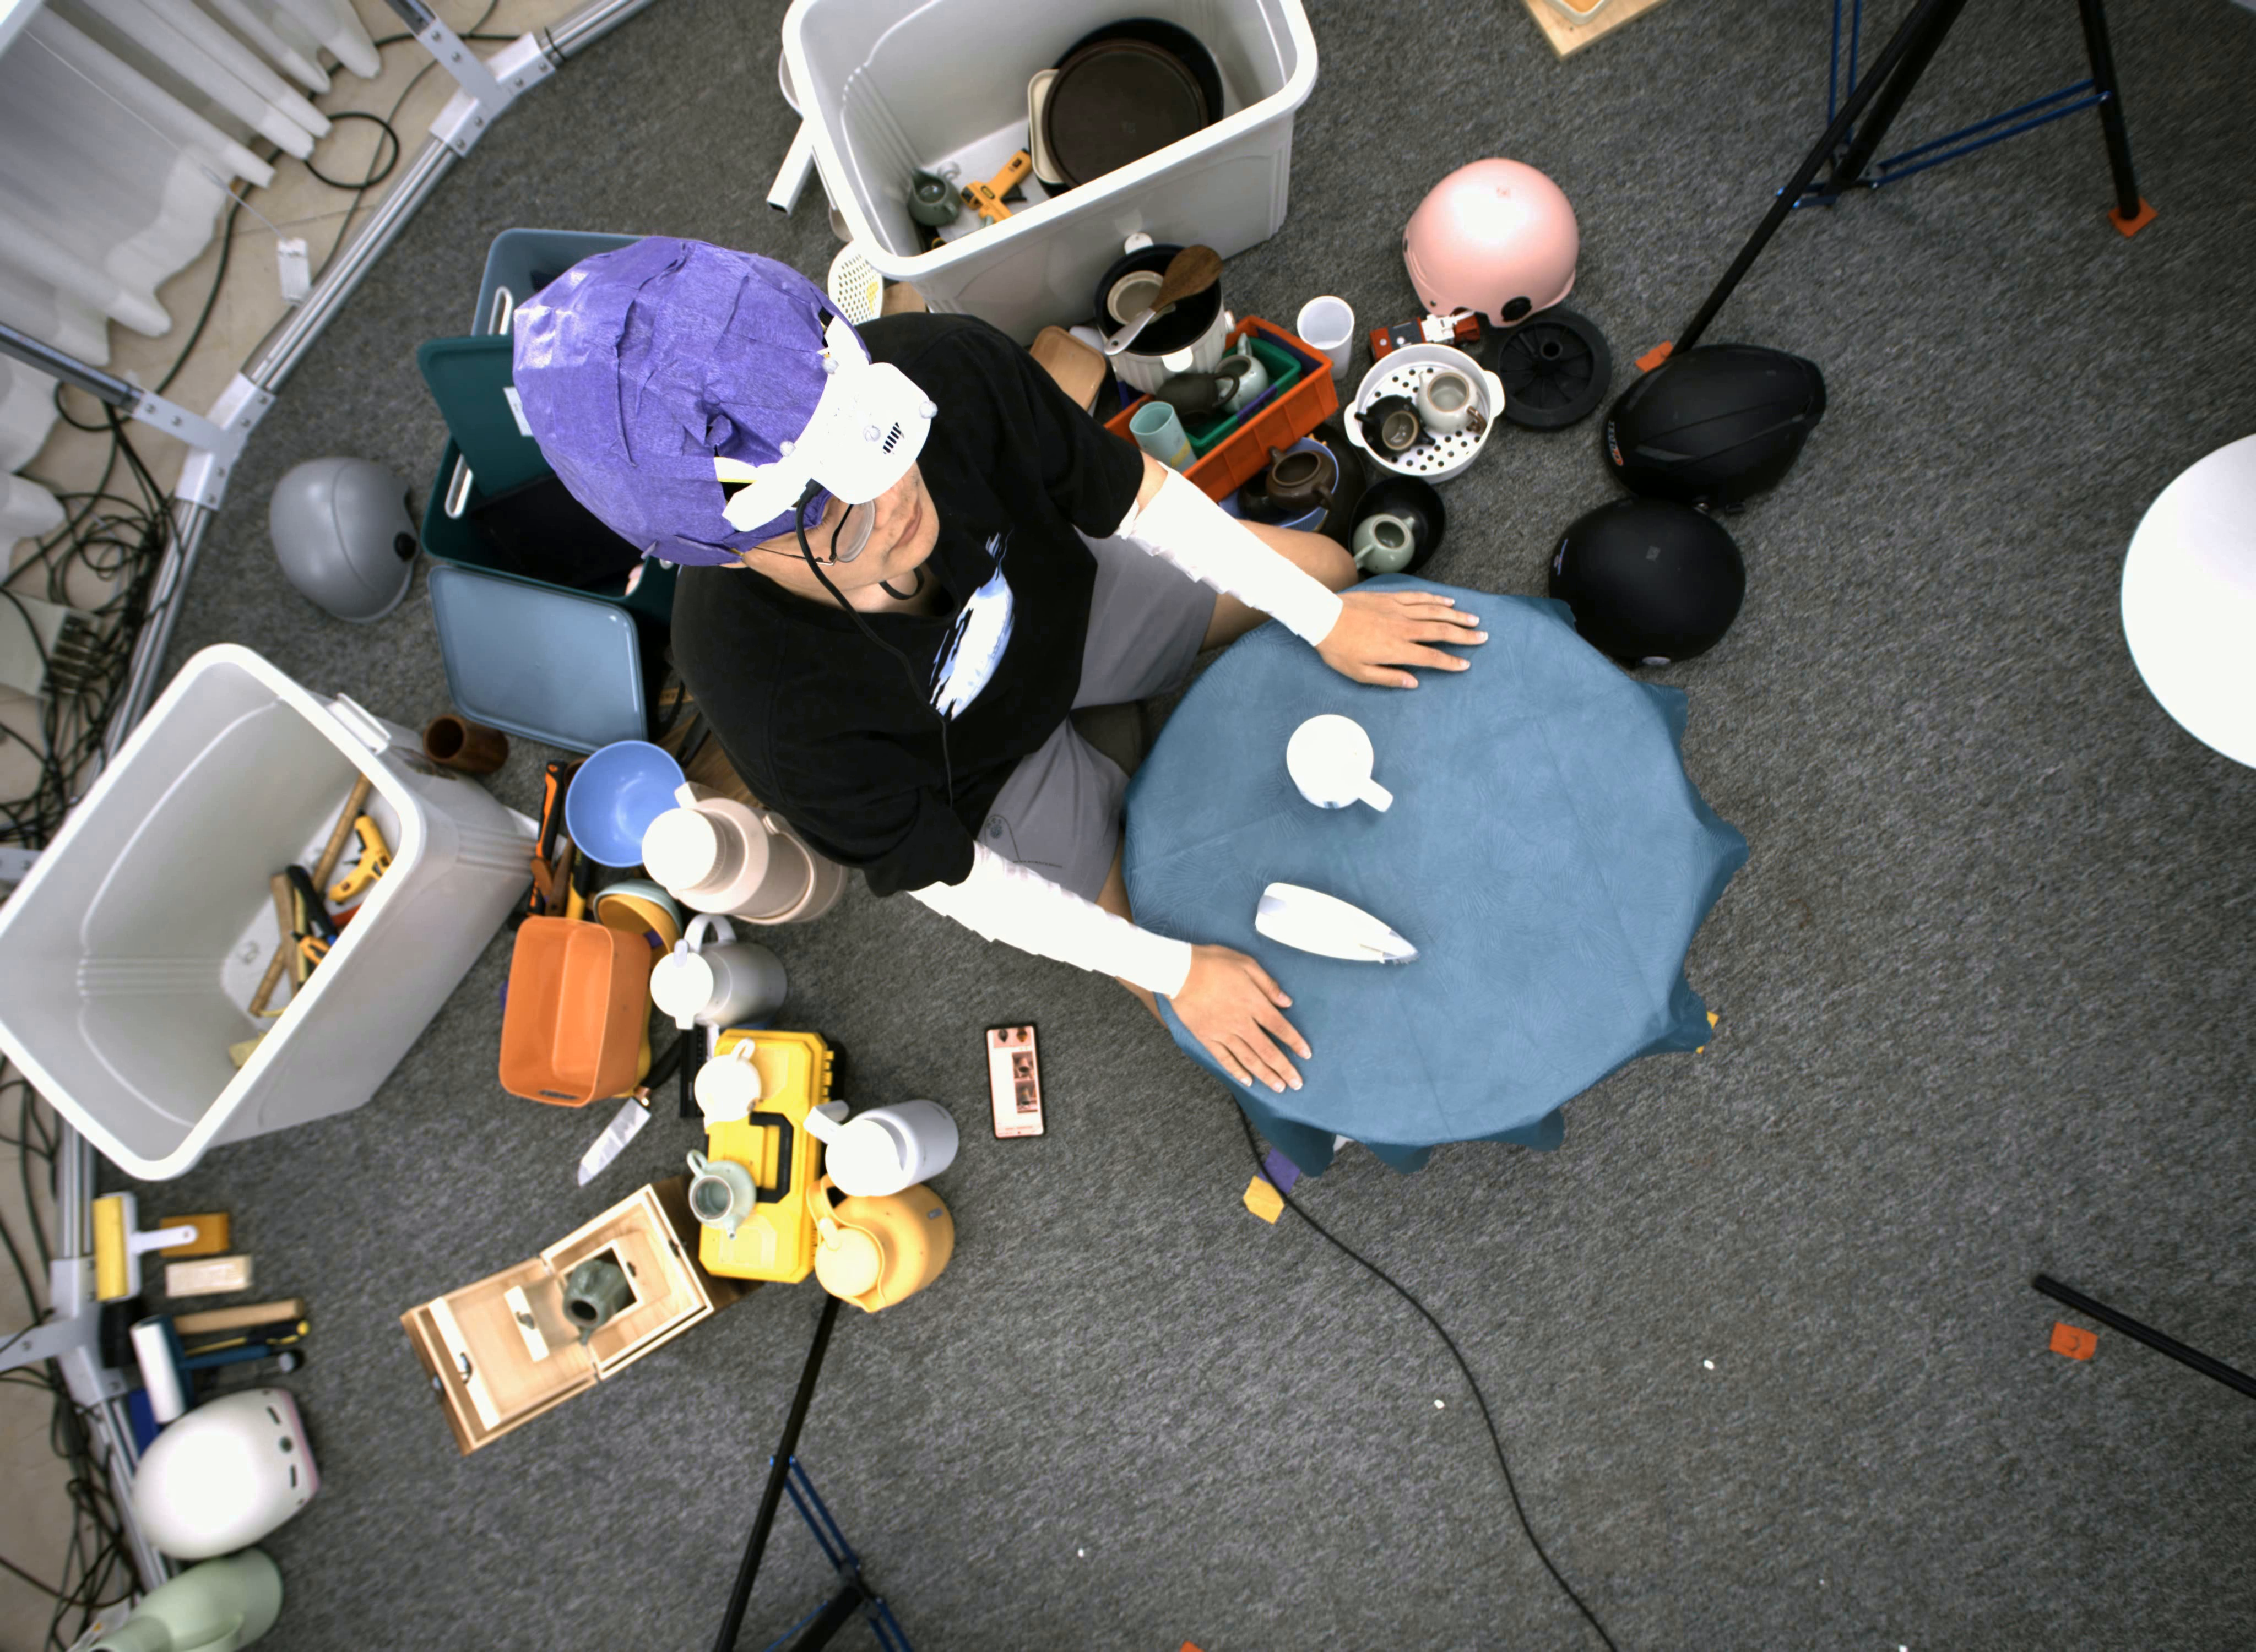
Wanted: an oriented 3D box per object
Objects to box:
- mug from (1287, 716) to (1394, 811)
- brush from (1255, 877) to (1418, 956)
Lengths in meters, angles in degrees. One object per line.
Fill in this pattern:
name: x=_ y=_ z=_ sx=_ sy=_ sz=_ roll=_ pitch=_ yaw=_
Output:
mug: x=0.223 y=-0.056 z=1.422 sx=0.118 sy=0.102 sz=0.085 roll=36 pitch=92 yaw=10
brush: x=0.214 y=0.101 z=1.421 sx=0.175 sy=0.094 sz=0.061 roll=18 pitch=93 yaw=9
